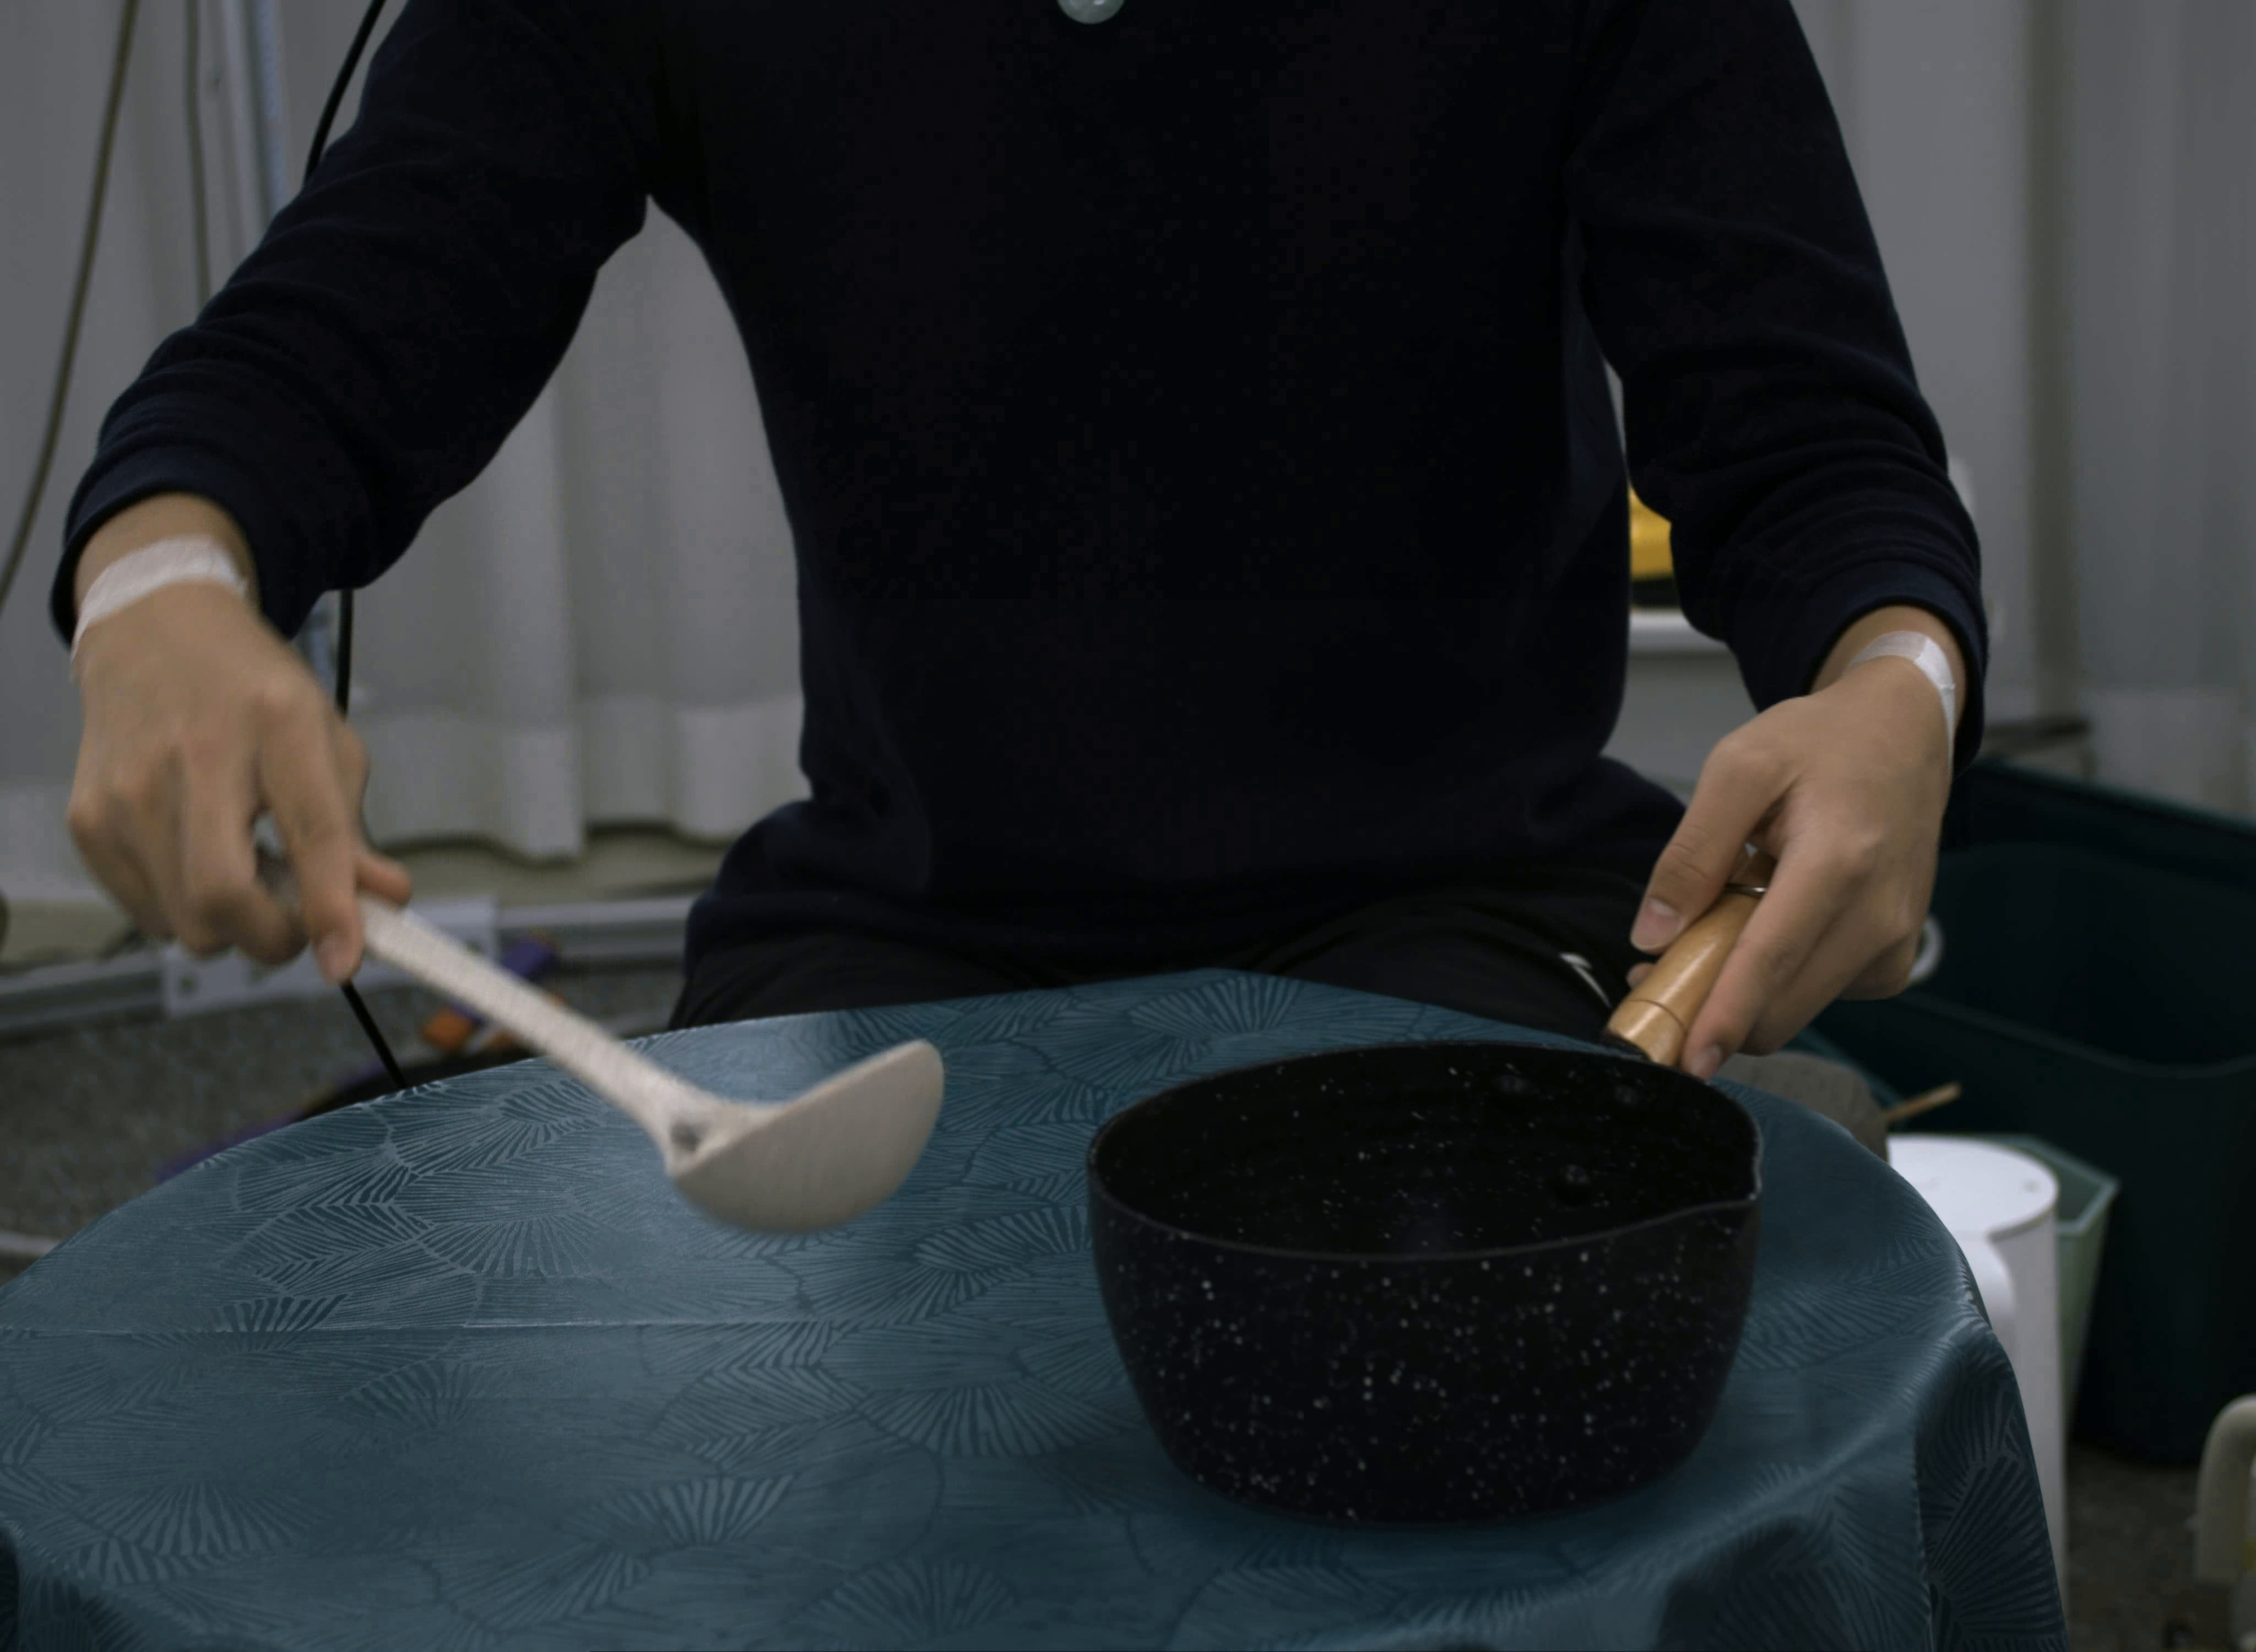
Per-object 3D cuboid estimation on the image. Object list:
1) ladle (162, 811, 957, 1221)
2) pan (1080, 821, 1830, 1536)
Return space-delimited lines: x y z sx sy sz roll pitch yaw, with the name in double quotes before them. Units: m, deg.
"ladle" -0.165 0.027 1.504 0.277 0.069 0.089 28 32 30
"pan" 0.120 0.095 1.558 0.208 0.108 0.343 5 18 30
